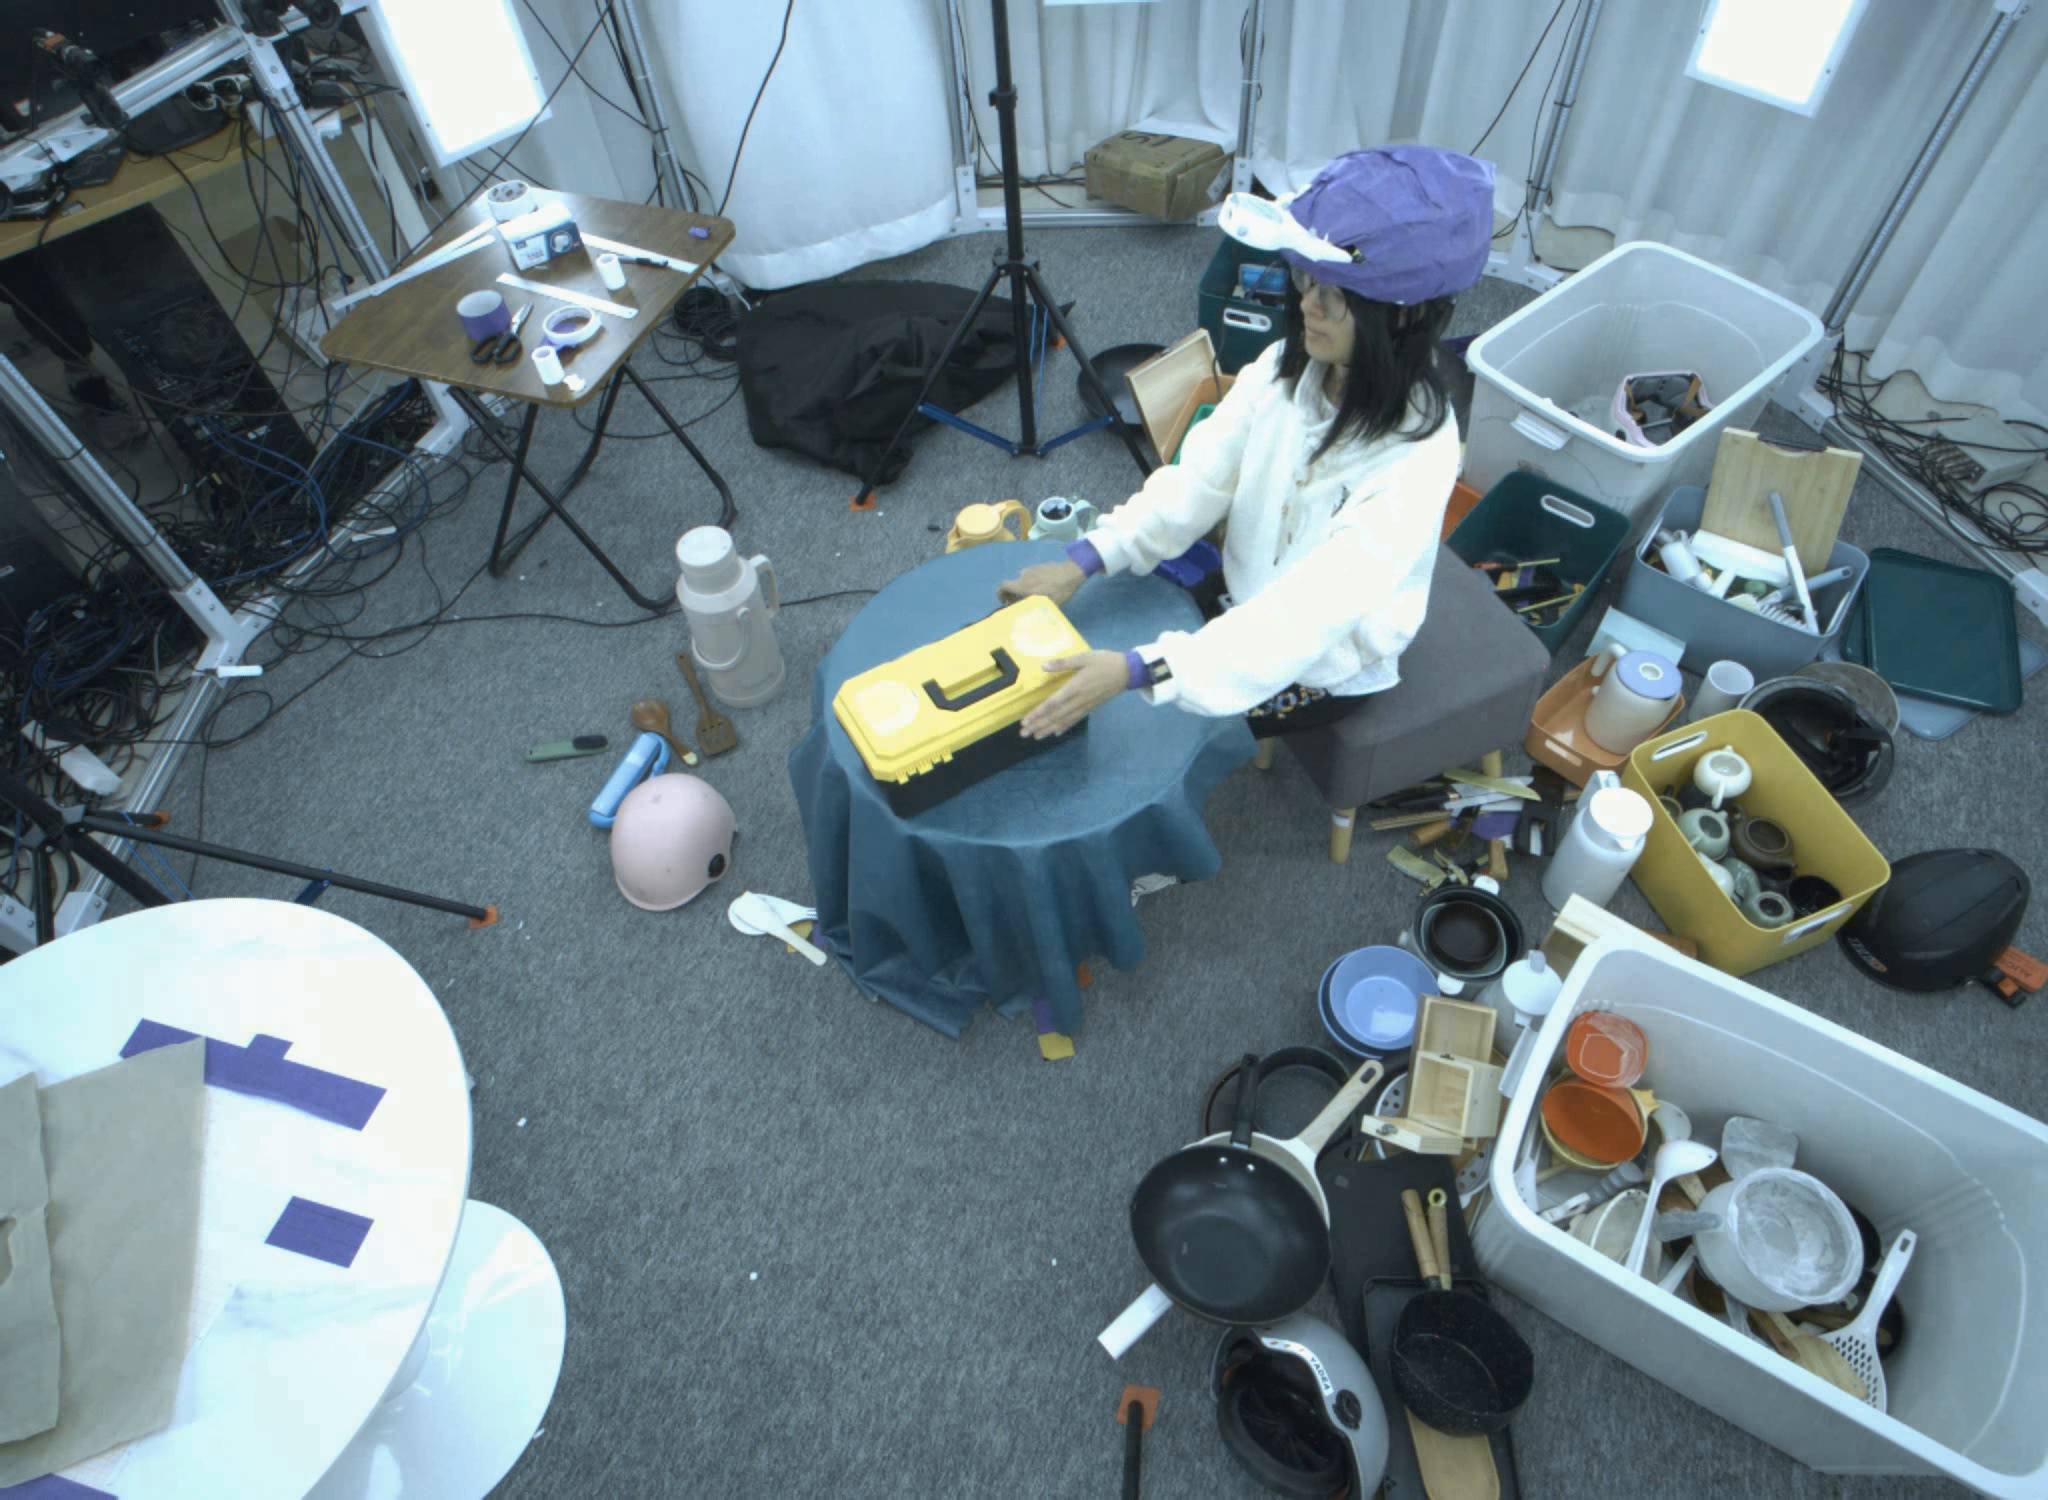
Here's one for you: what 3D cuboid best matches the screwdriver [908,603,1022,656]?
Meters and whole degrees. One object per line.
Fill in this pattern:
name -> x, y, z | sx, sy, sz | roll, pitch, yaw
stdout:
screwdriver -> -0.090, -0.182, 1.913 | 0.199, 0.032, 0.031 | -24, 57, -9

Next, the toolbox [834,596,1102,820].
toolbox -> -0.074, -0.059, 1.725 | 0.354, 0.175, 0.178 | -26, 57, -15
